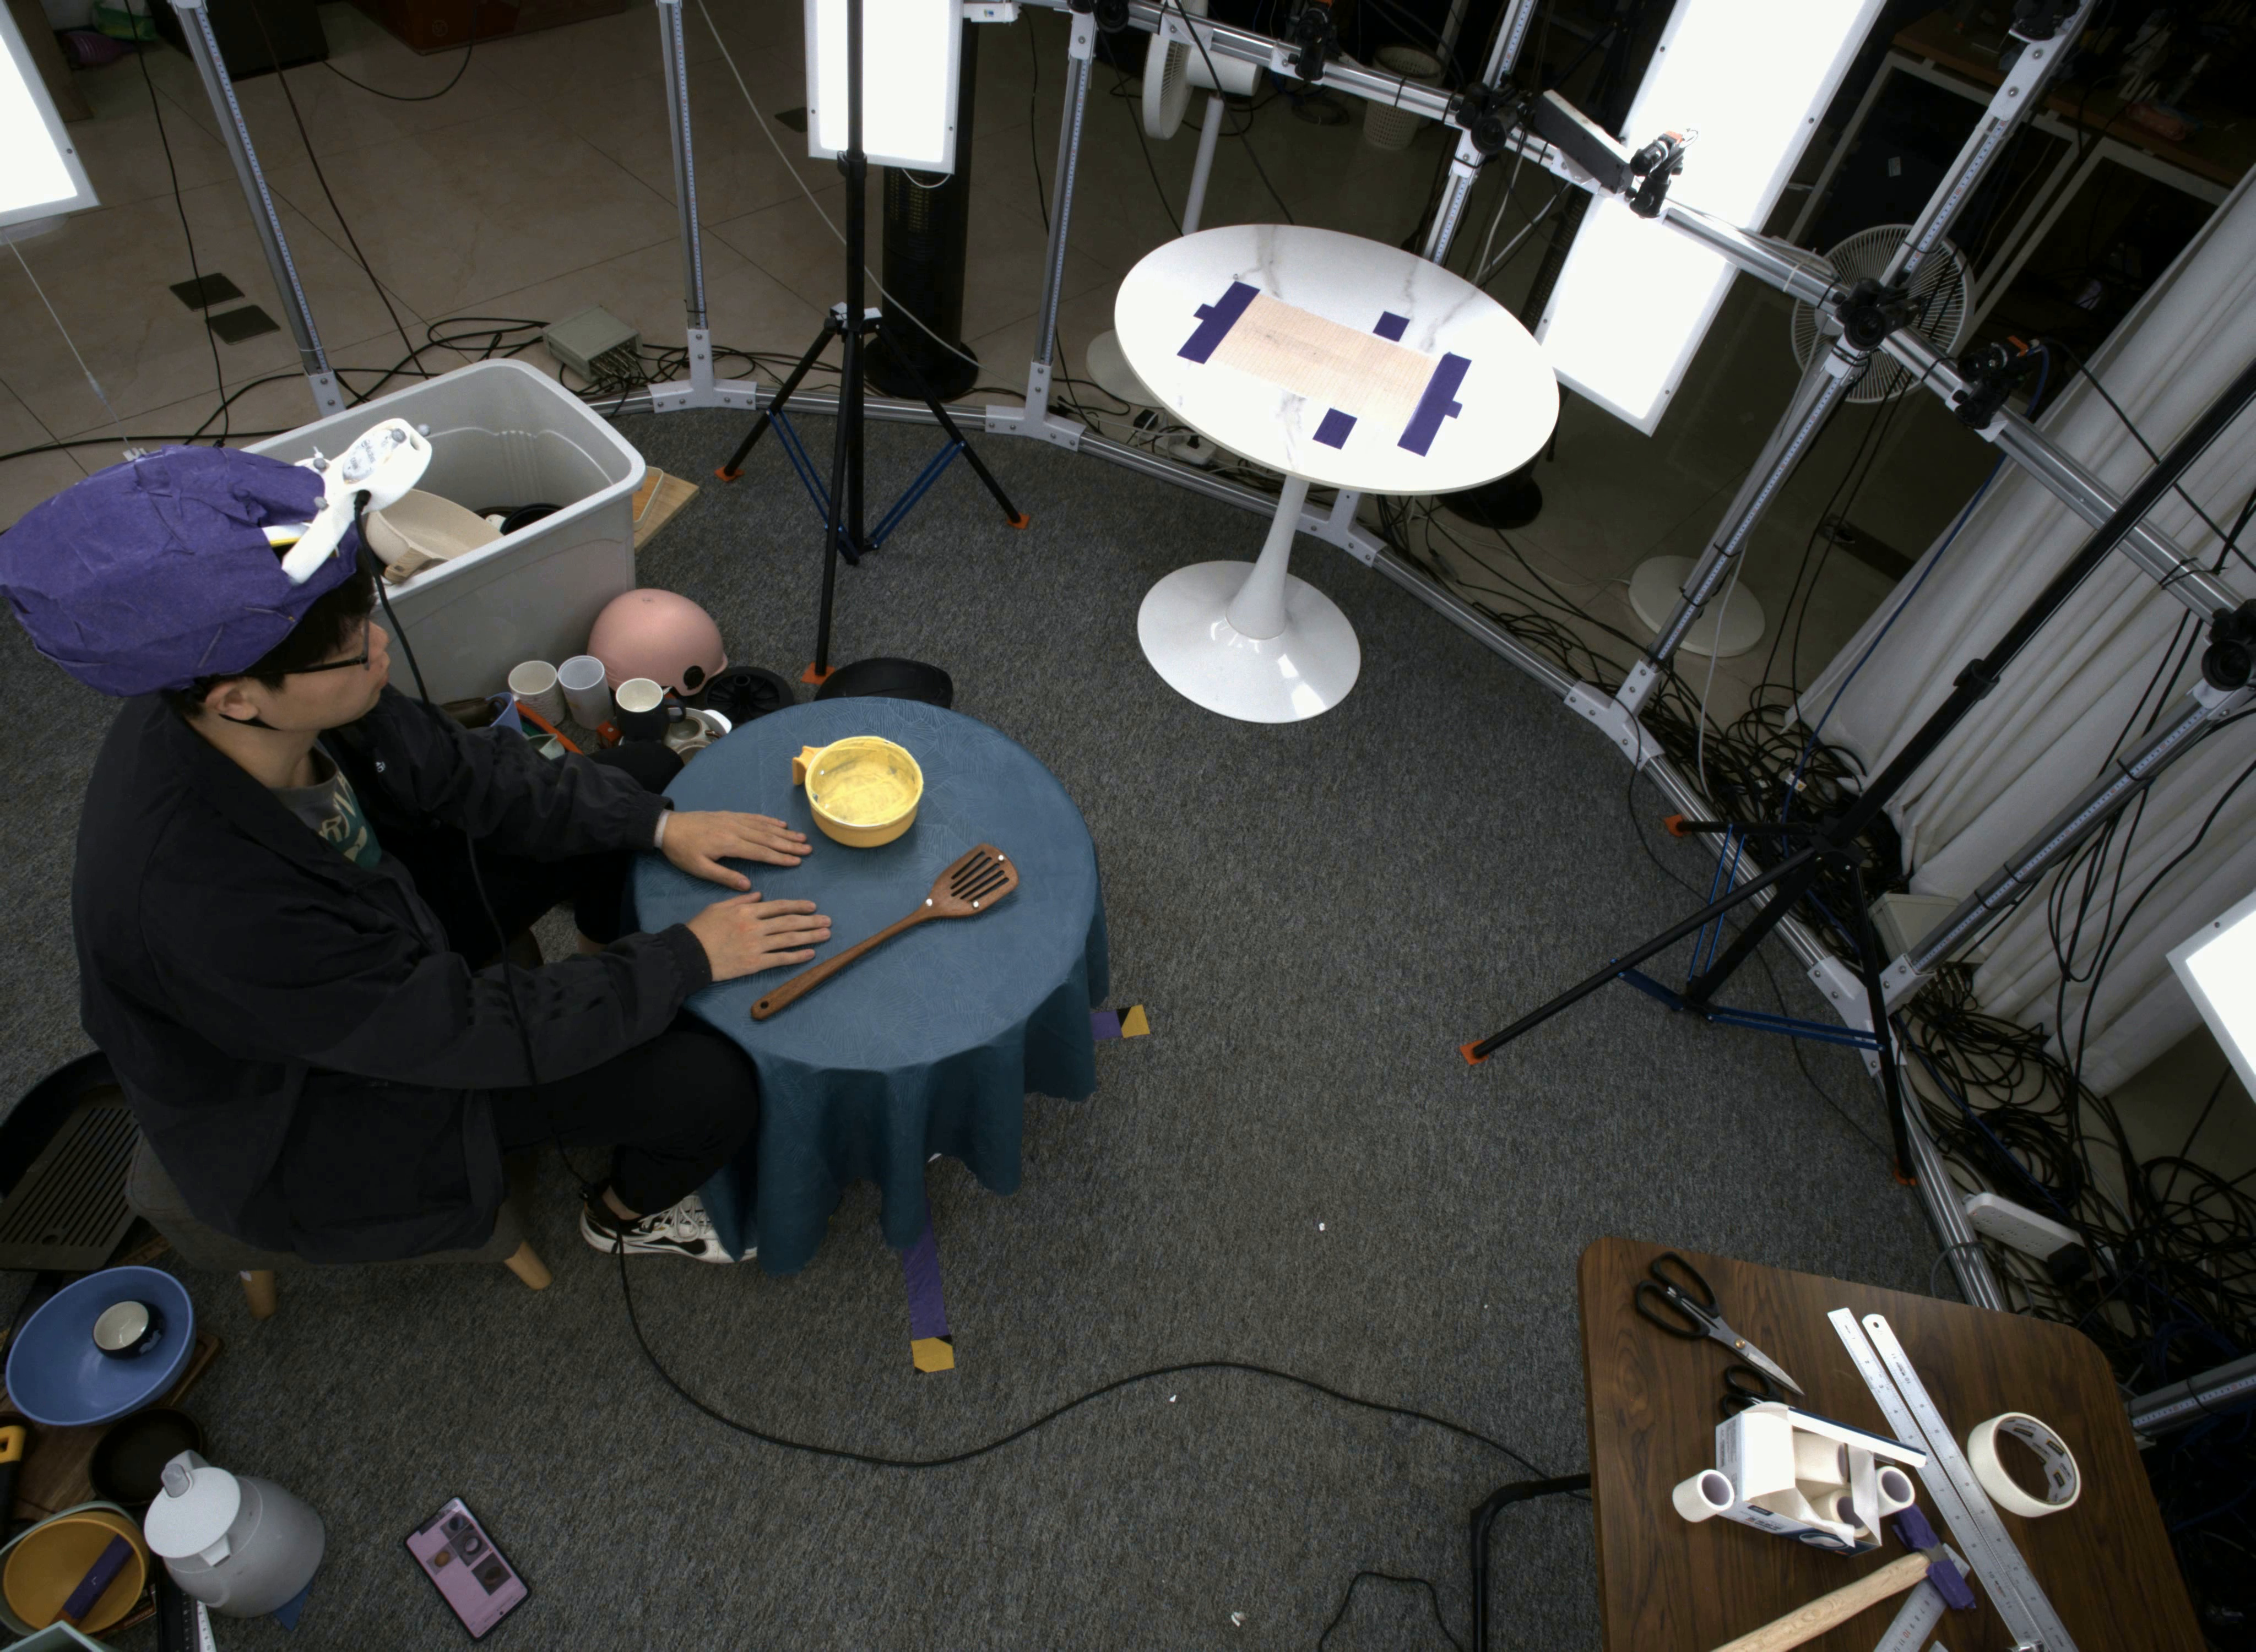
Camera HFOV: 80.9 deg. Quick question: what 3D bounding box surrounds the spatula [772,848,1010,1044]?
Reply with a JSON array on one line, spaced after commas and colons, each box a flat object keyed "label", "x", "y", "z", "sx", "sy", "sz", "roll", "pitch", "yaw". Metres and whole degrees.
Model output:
[{"label": "spatula", "x": -0.298, "y": 0.149, "z": 1.641, "sx": 0.083, "sy": 0.024, "sz": 0.387, "roll": 32, "pitch": 50, "yaw": 22}]

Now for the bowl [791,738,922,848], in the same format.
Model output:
[{"label": "bowl", "x": -0.365, "y": -0.047, "z": 1.734, "sx": 0.177, "sy": 0.076, "sz": 0.151, "roll": 21, "pitch": 51, "yaw": 2}]
